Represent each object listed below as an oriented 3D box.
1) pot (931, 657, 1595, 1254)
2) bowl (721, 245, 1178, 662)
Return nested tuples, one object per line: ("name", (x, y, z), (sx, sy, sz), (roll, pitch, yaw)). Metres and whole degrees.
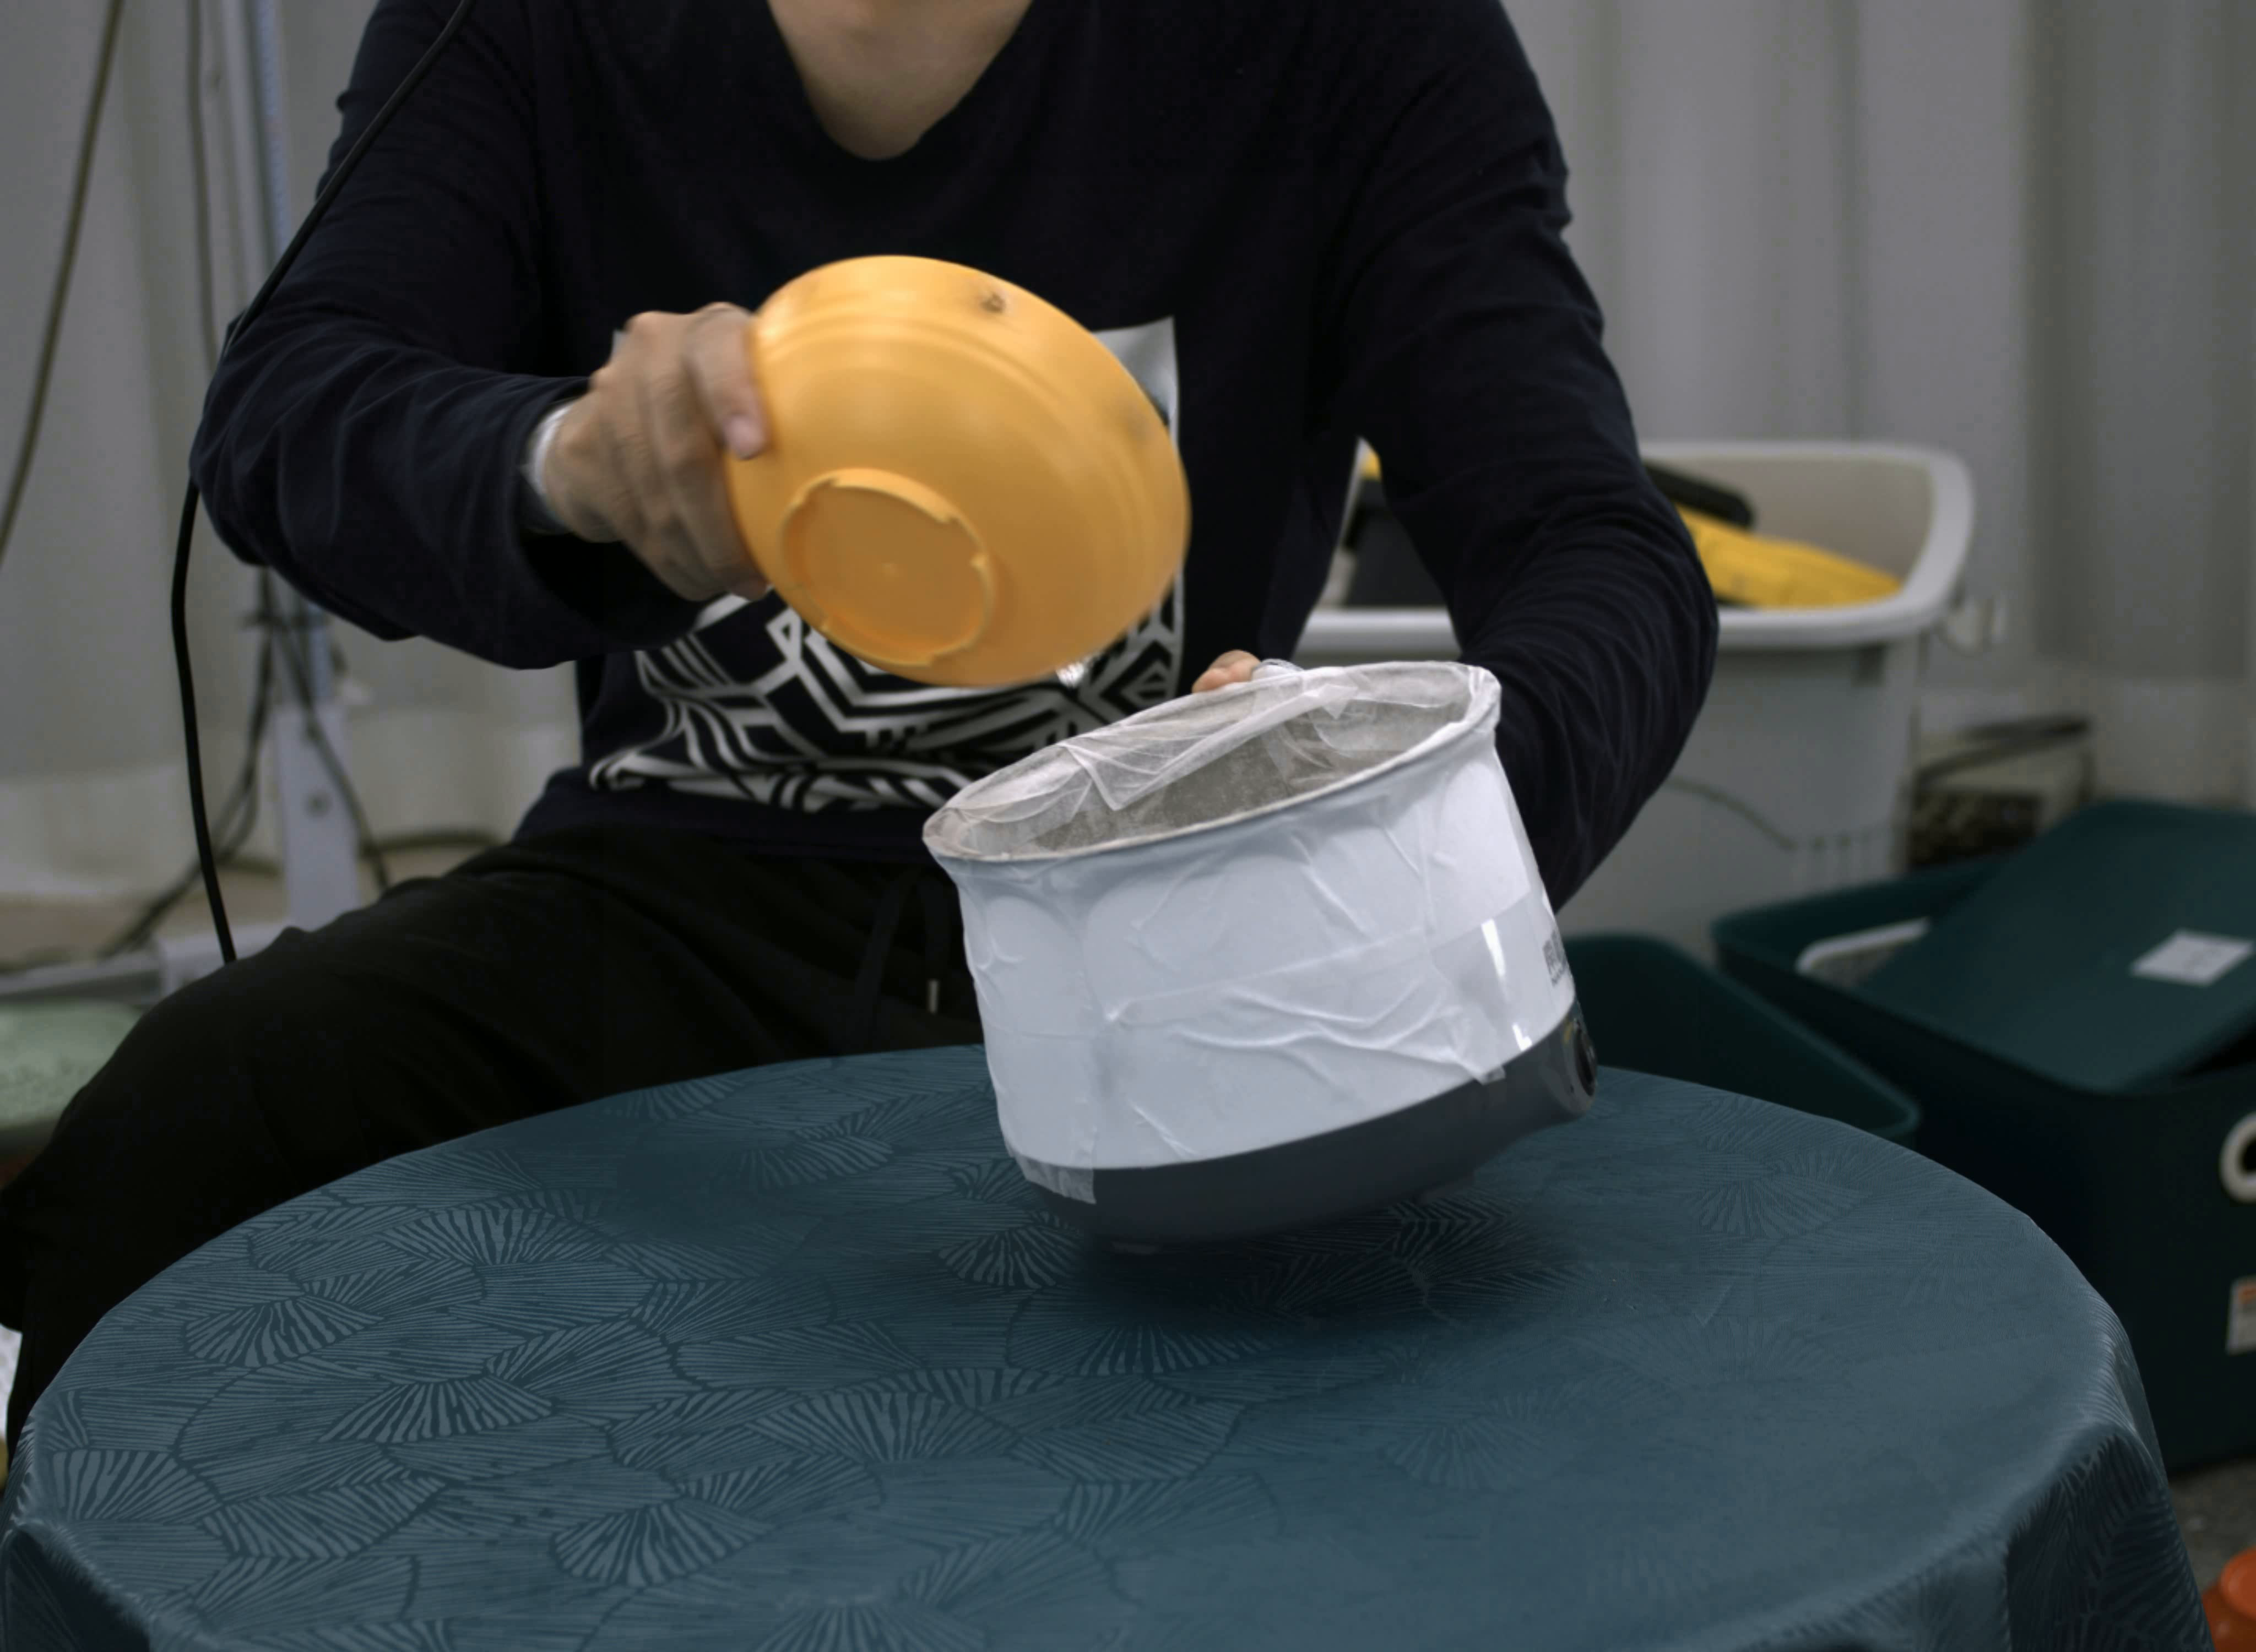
("pot", (0.046, 0.032, 1.658), (0.178, 0.136, 0.235), (-10, 13, 13))
("bowl", (-0.062, -0.095, 1.594), (0.145, 0.143, 0.061), (5, 46, 28))
